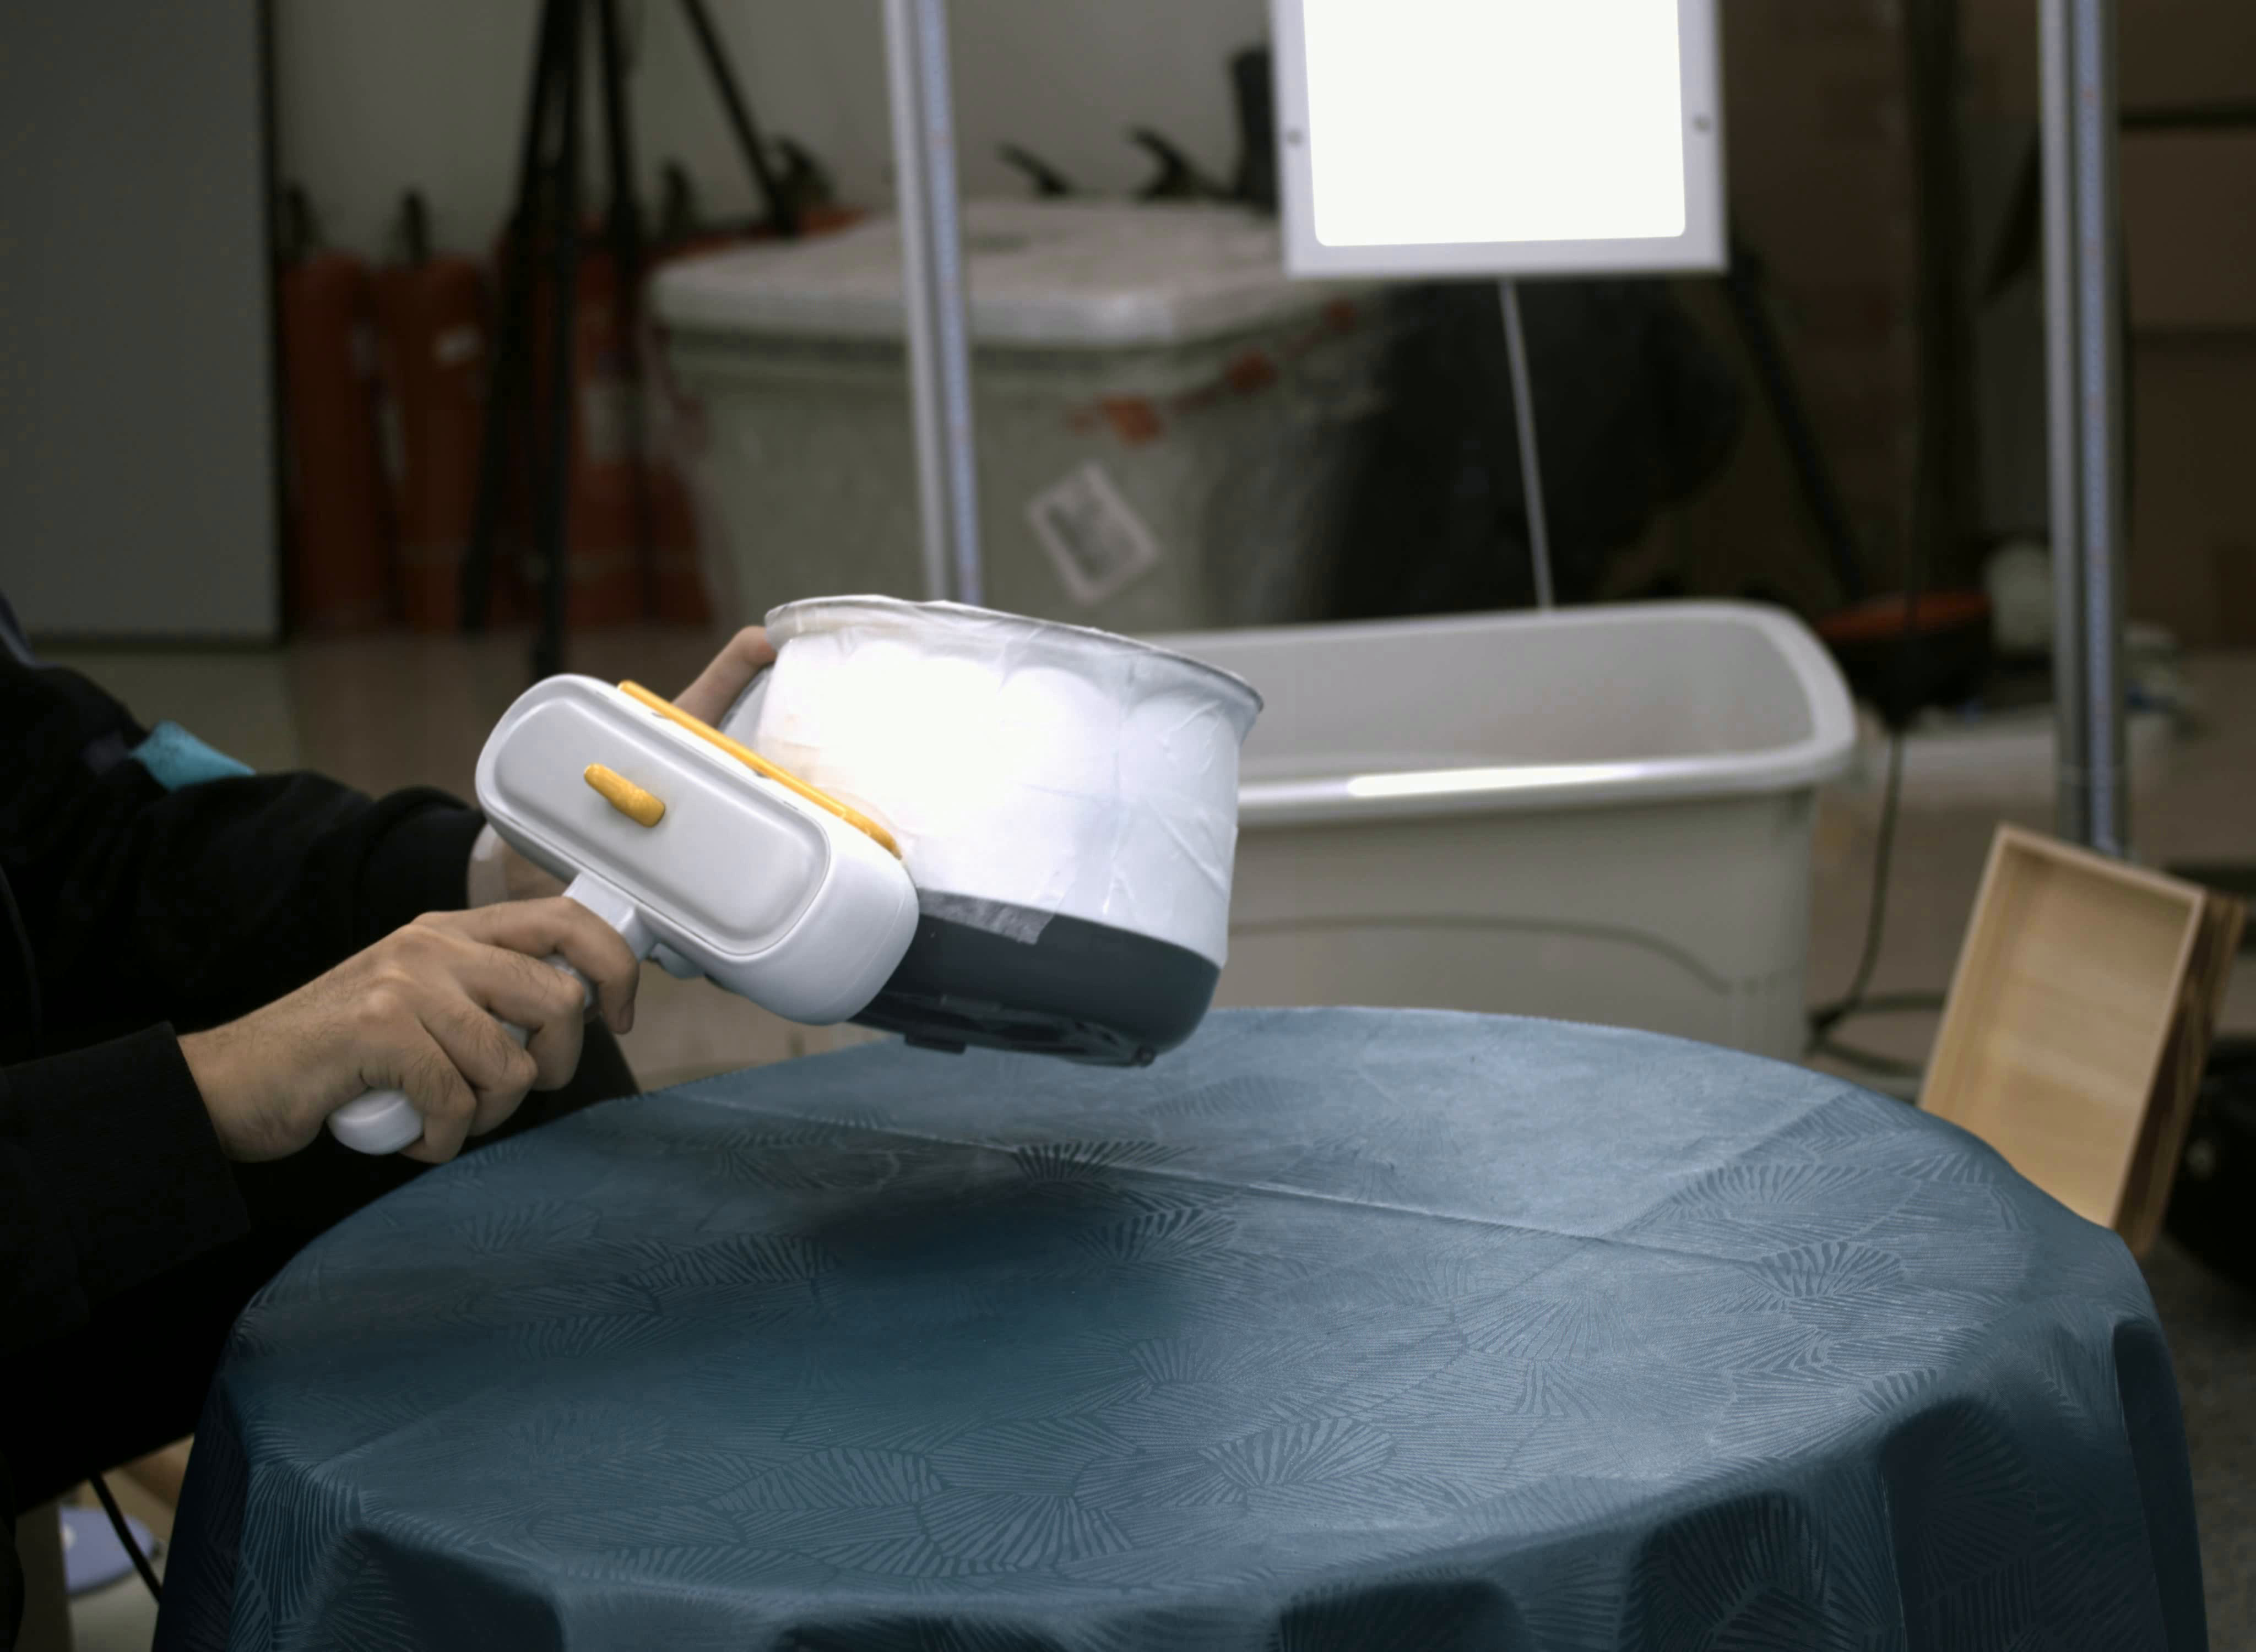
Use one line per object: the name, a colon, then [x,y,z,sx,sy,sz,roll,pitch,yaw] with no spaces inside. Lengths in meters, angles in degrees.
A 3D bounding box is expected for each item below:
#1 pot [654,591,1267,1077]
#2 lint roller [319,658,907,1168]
pot: [-0.072,0.003,1.921,0.239,0.136,0.175,4,-12,40]
lint roller: [-0.188,0.042,1.821,0.196,0.073,0.191,26,73,39]
